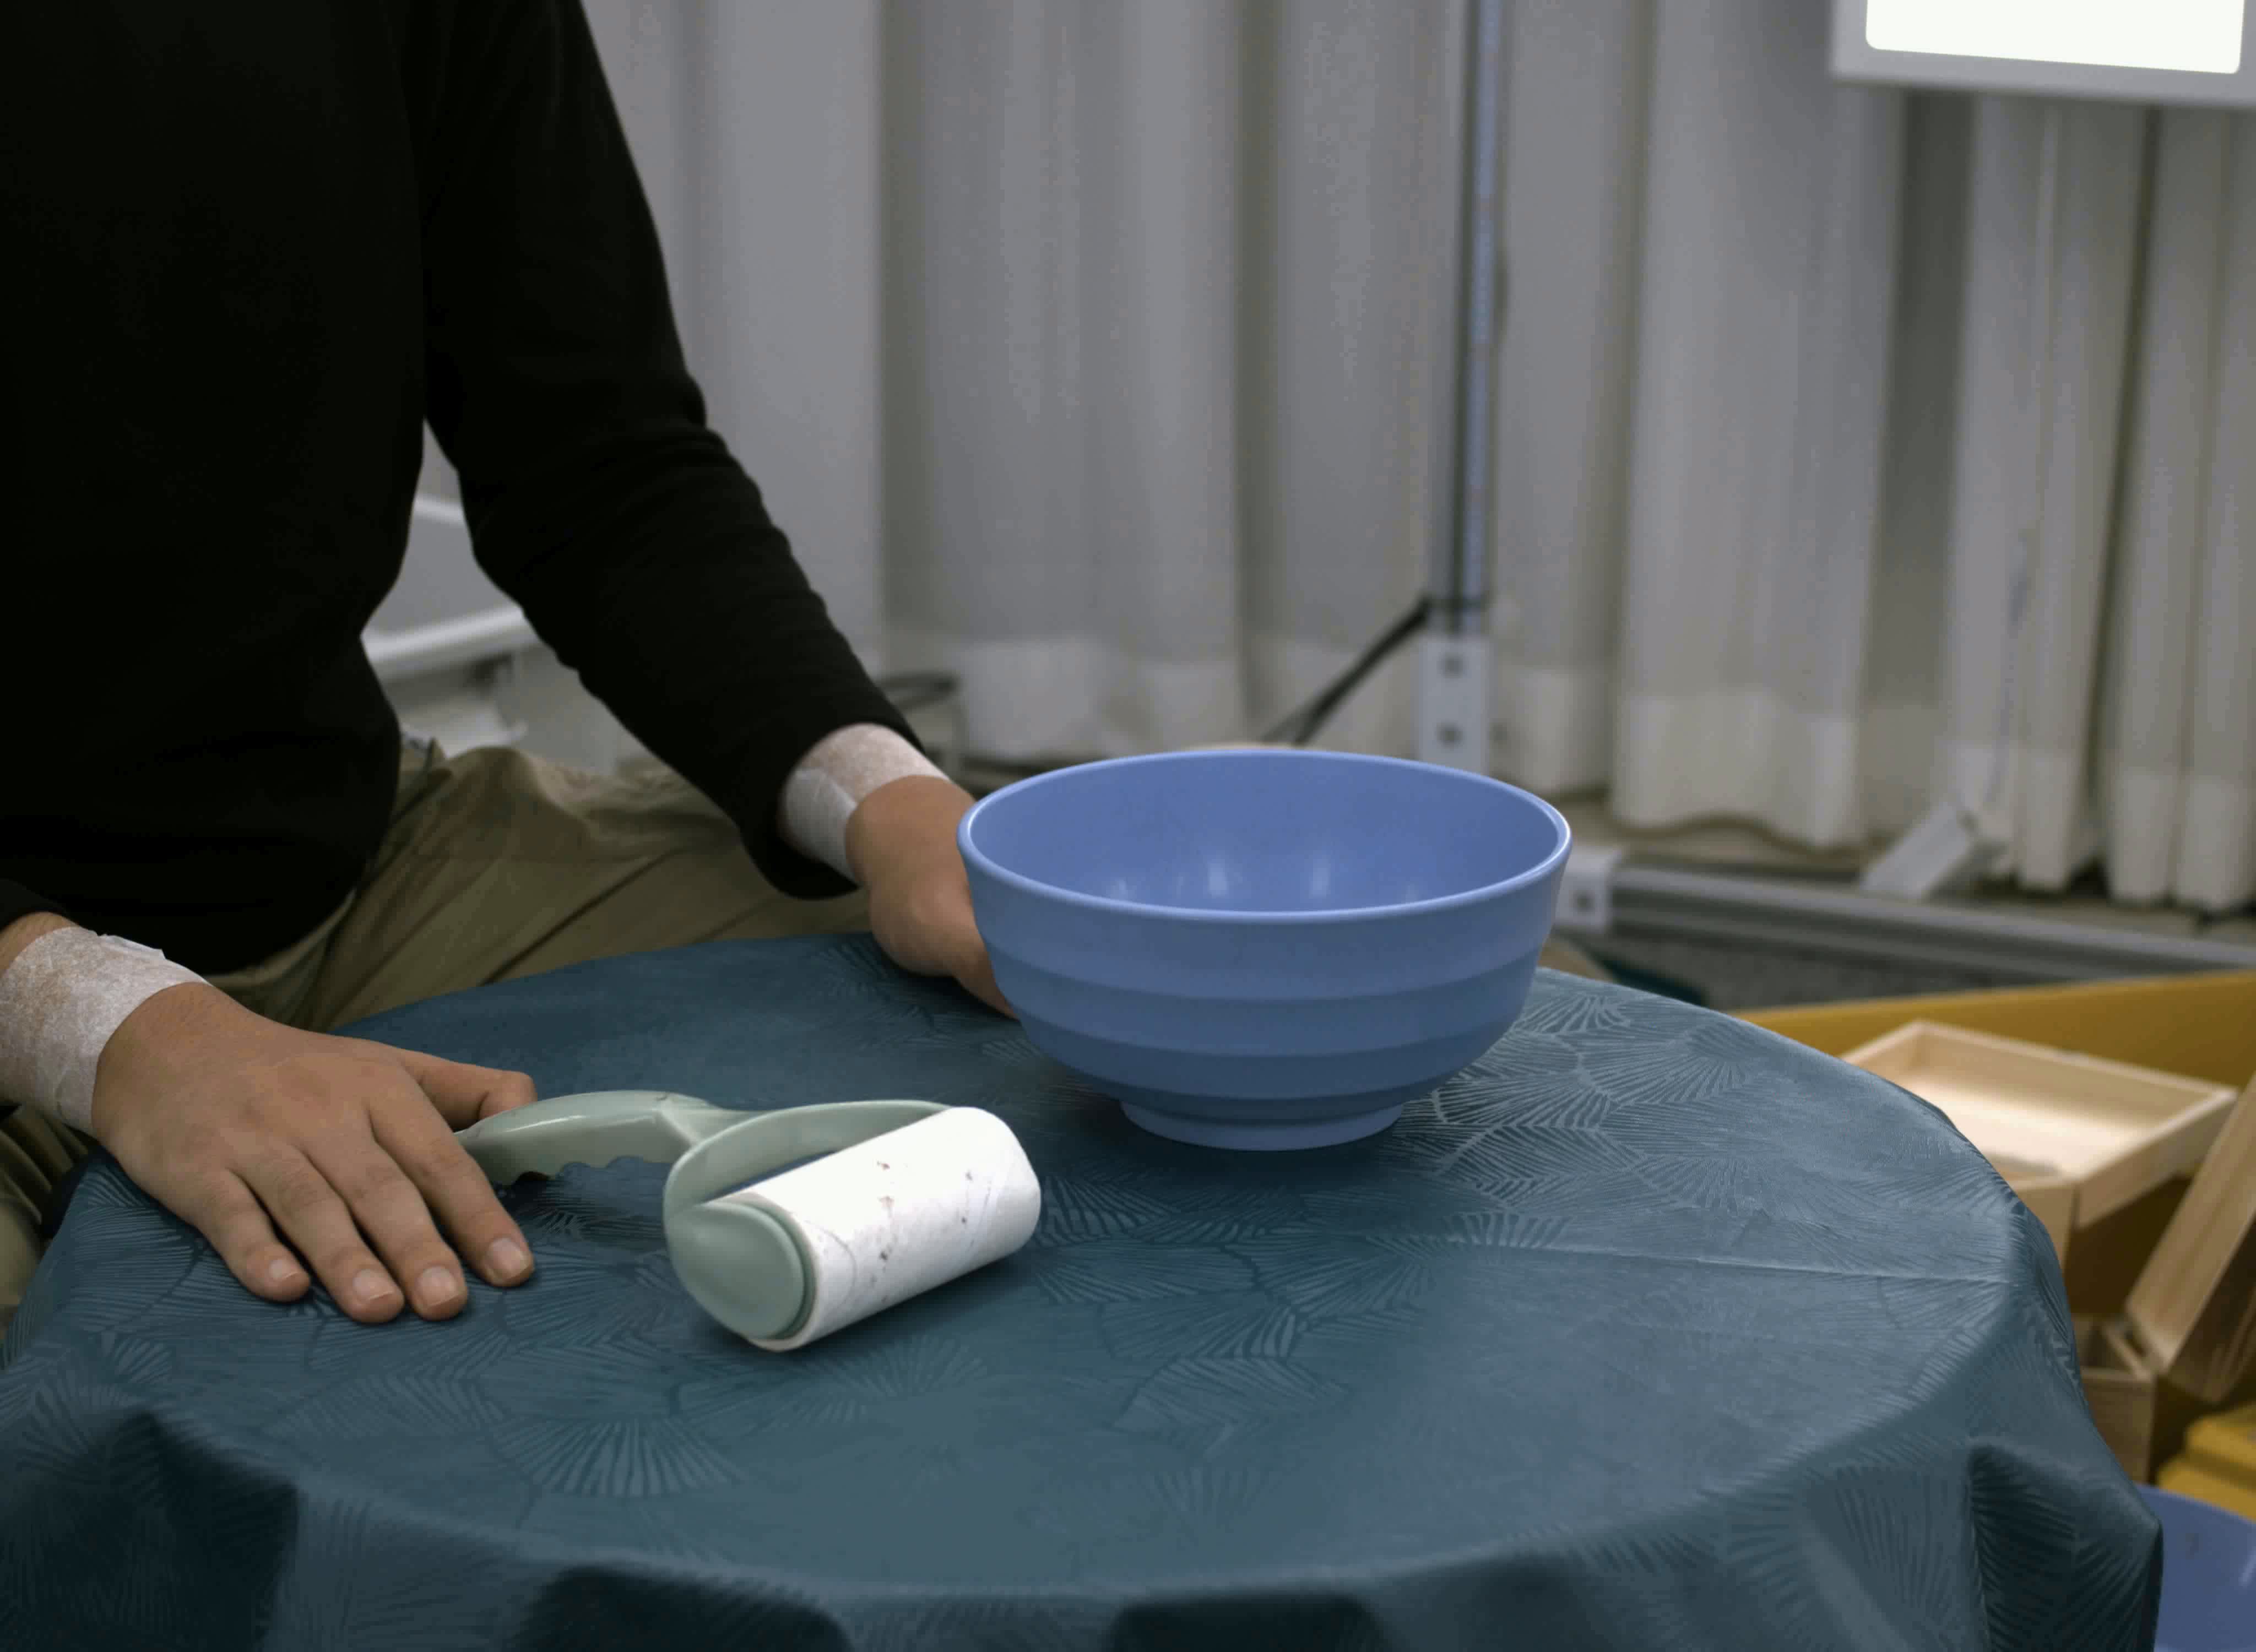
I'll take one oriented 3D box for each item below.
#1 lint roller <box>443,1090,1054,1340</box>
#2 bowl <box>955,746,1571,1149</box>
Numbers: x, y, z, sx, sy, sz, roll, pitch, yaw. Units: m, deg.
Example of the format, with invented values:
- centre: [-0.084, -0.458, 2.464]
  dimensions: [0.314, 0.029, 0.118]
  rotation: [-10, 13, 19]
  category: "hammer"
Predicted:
- centre: [-0.127, 0.103, 1.568]
  dimensions: [0.195, 0.049, 0.117]
  rotation: [10, 19, 35]
  category: "lint roller"
- centre: [0.043, 0.044, 1.687]
  dimensions: [0.196, 0.096, 0.195]
  rotation: [0, 17, 1]
  category: "bowl"
